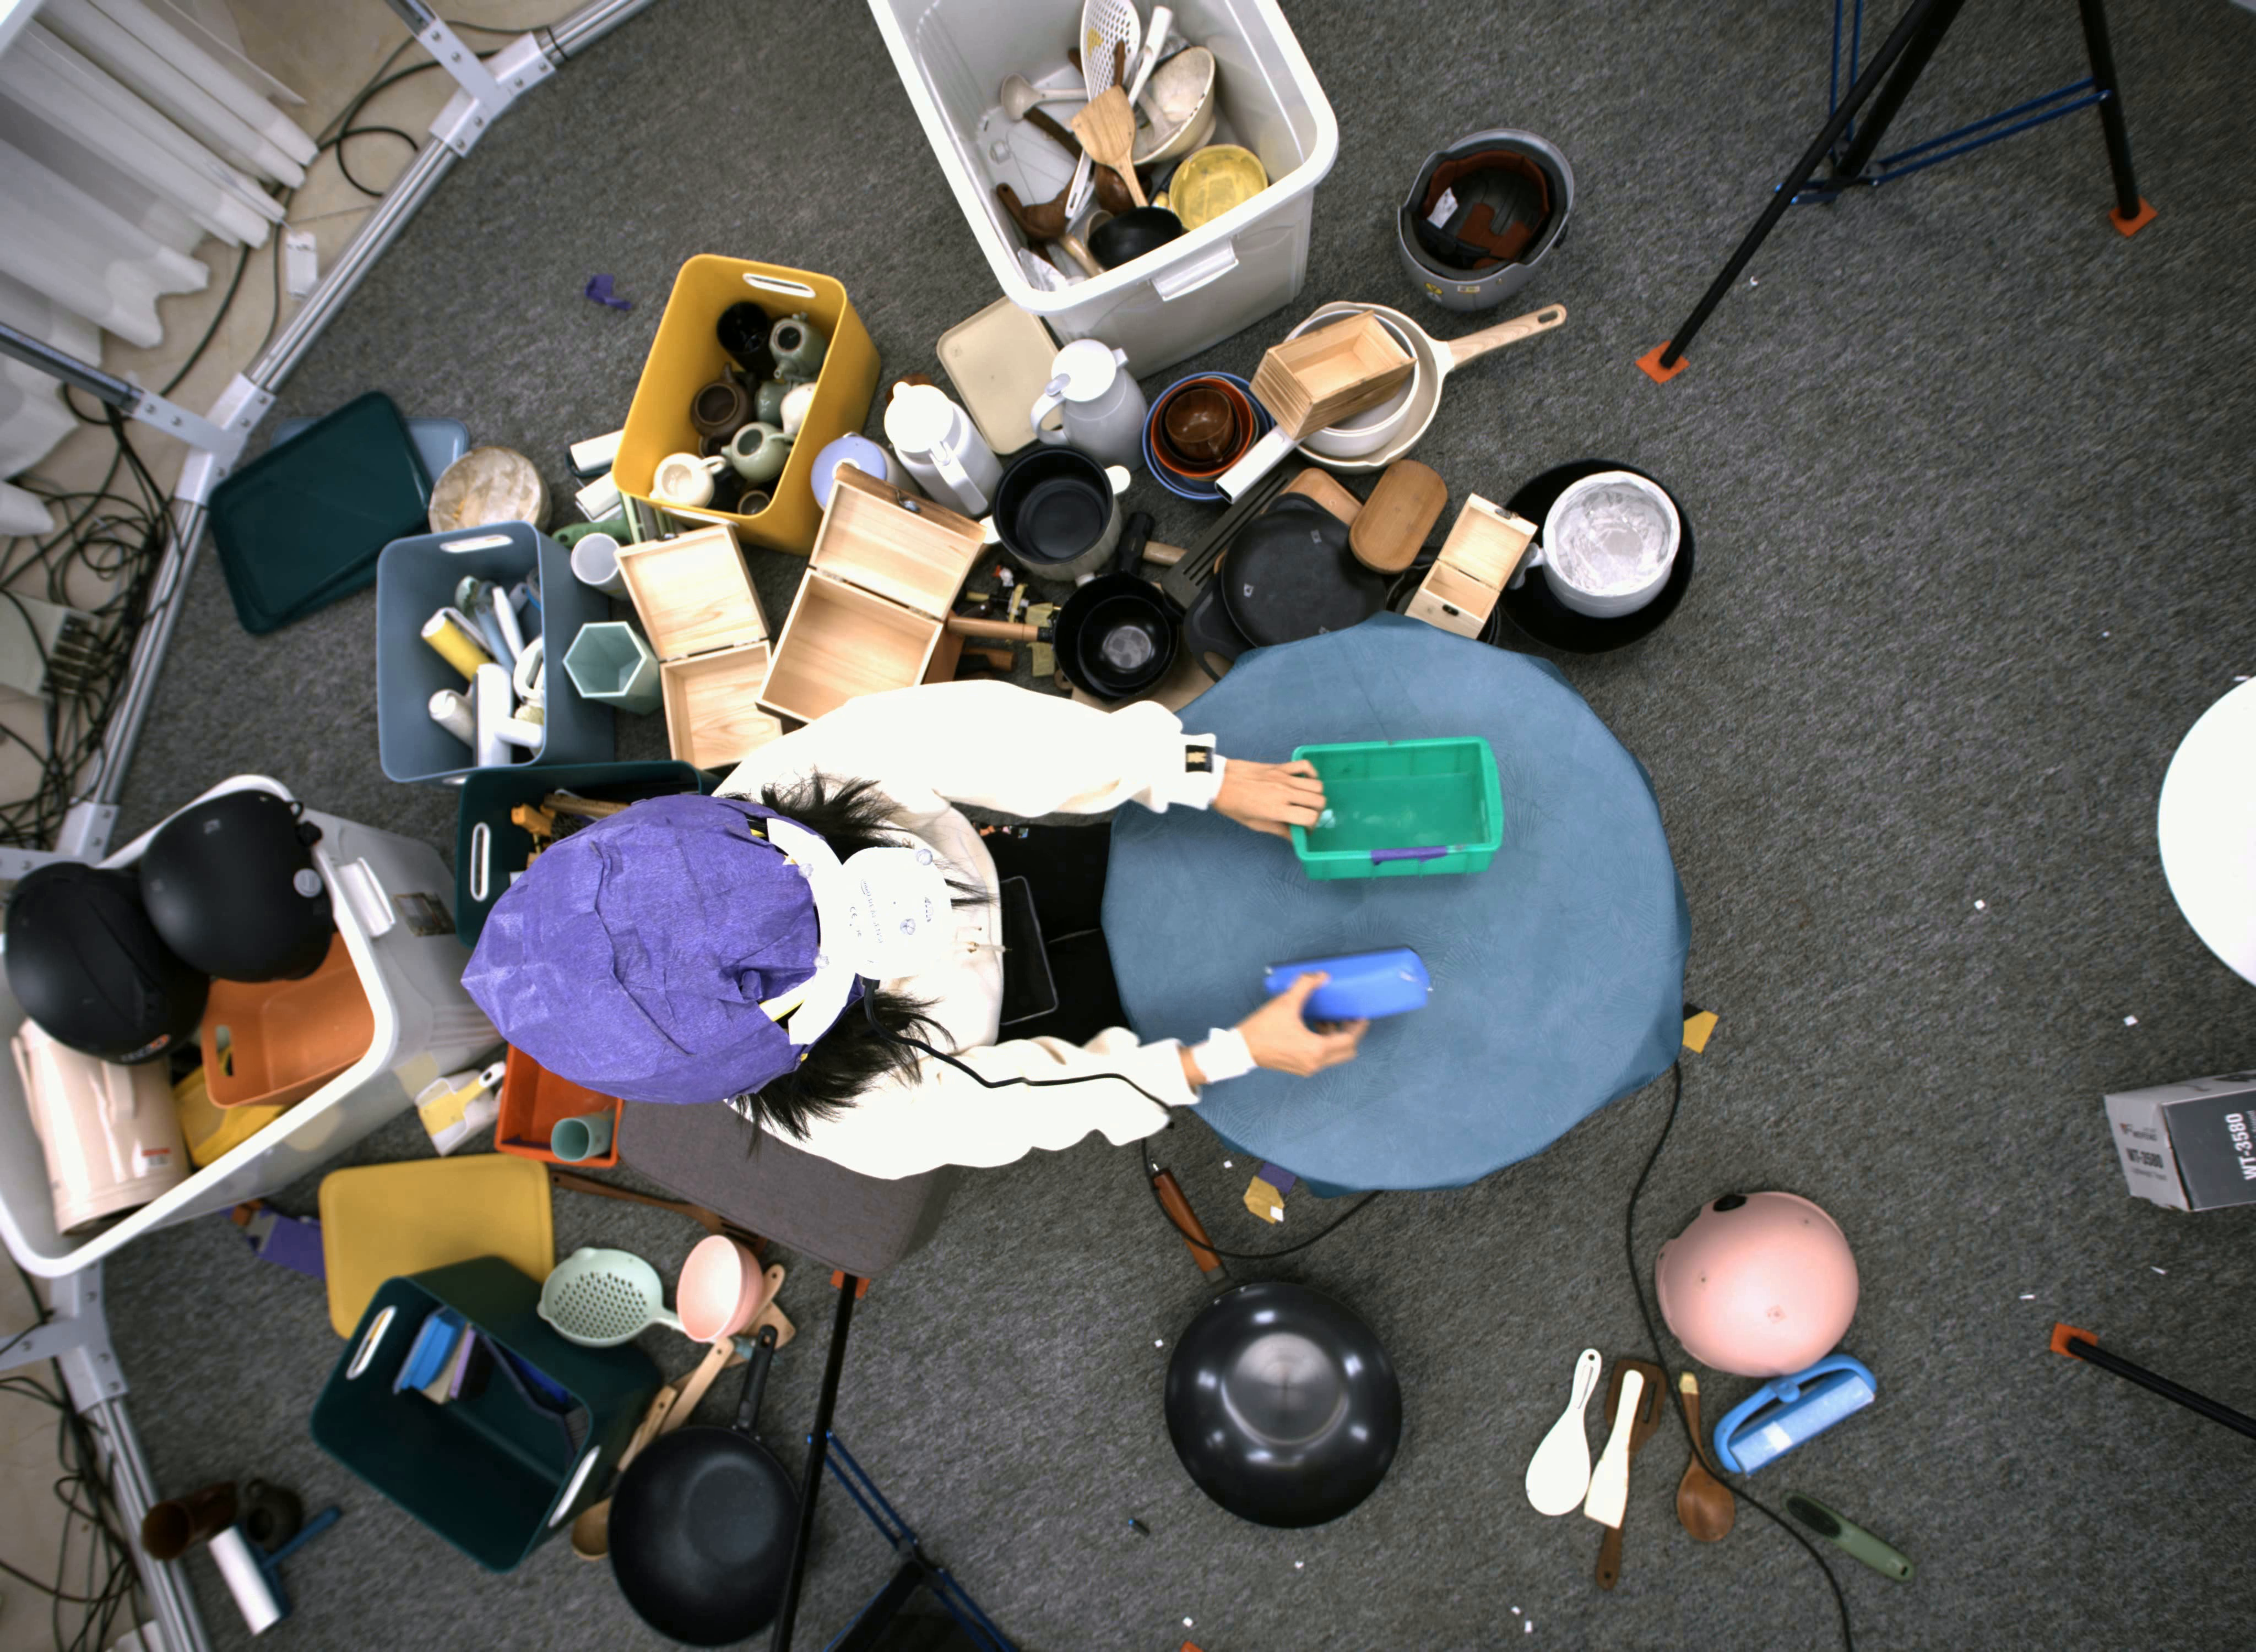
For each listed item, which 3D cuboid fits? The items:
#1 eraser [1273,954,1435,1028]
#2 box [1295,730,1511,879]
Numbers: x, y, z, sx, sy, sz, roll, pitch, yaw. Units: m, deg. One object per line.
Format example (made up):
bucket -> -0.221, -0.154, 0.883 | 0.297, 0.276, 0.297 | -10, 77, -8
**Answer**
eraser -> 0.225, 0.168, 1.389 | 0.164, 0.046, 0.055 | -10, 120, 26
box -> 0.277, -0.019, 1.402 | 0.211, 0.066, 0.135 | -4, 63, 8
